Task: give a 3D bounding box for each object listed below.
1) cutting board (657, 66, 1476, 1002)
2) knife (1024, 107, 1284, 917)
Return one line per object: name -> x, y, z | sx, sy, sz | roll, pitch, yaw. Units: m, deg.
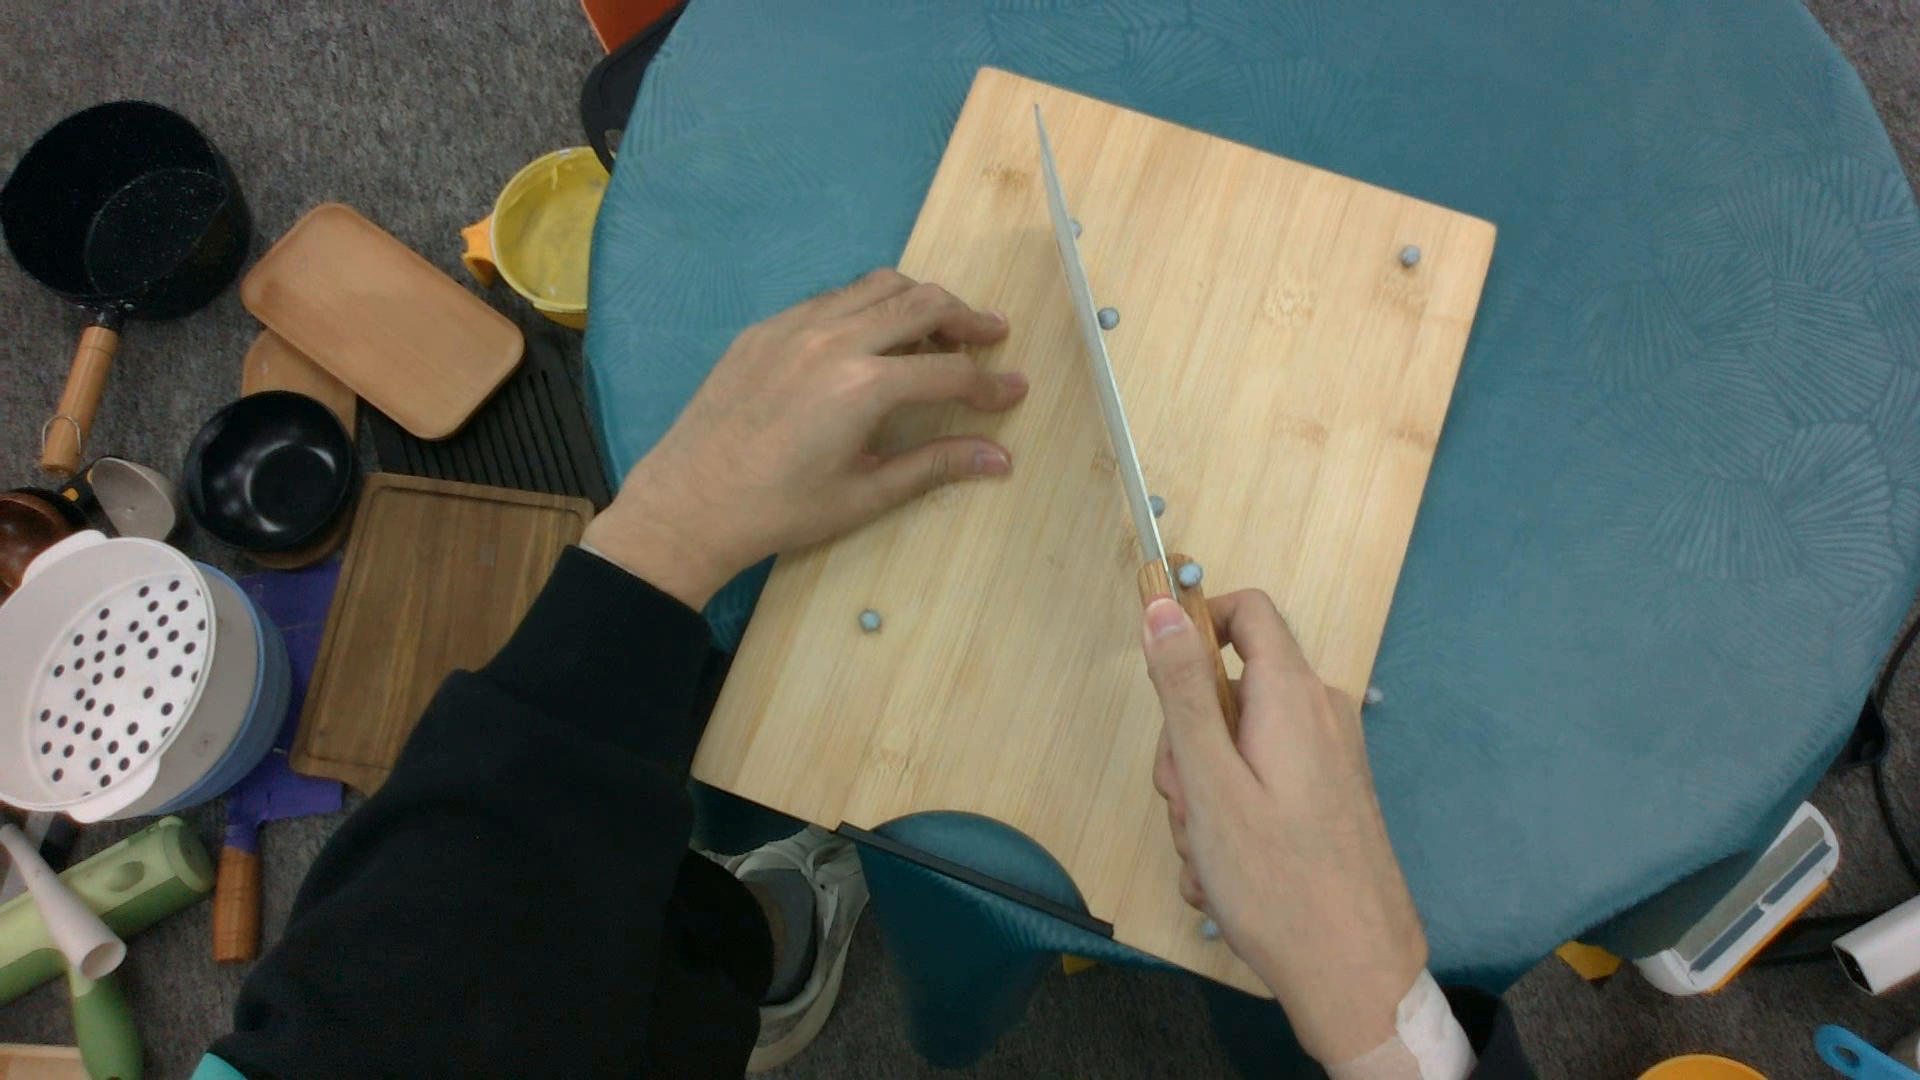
cutting board -> 0.055, -0.020, 0.577 | 0.250, 0.023, 0.349 | 18, 74, 5
knife -> 0.063, -0.014, 0.511 | 0.021, 0.093, 0.306 | -15, 72, 2
